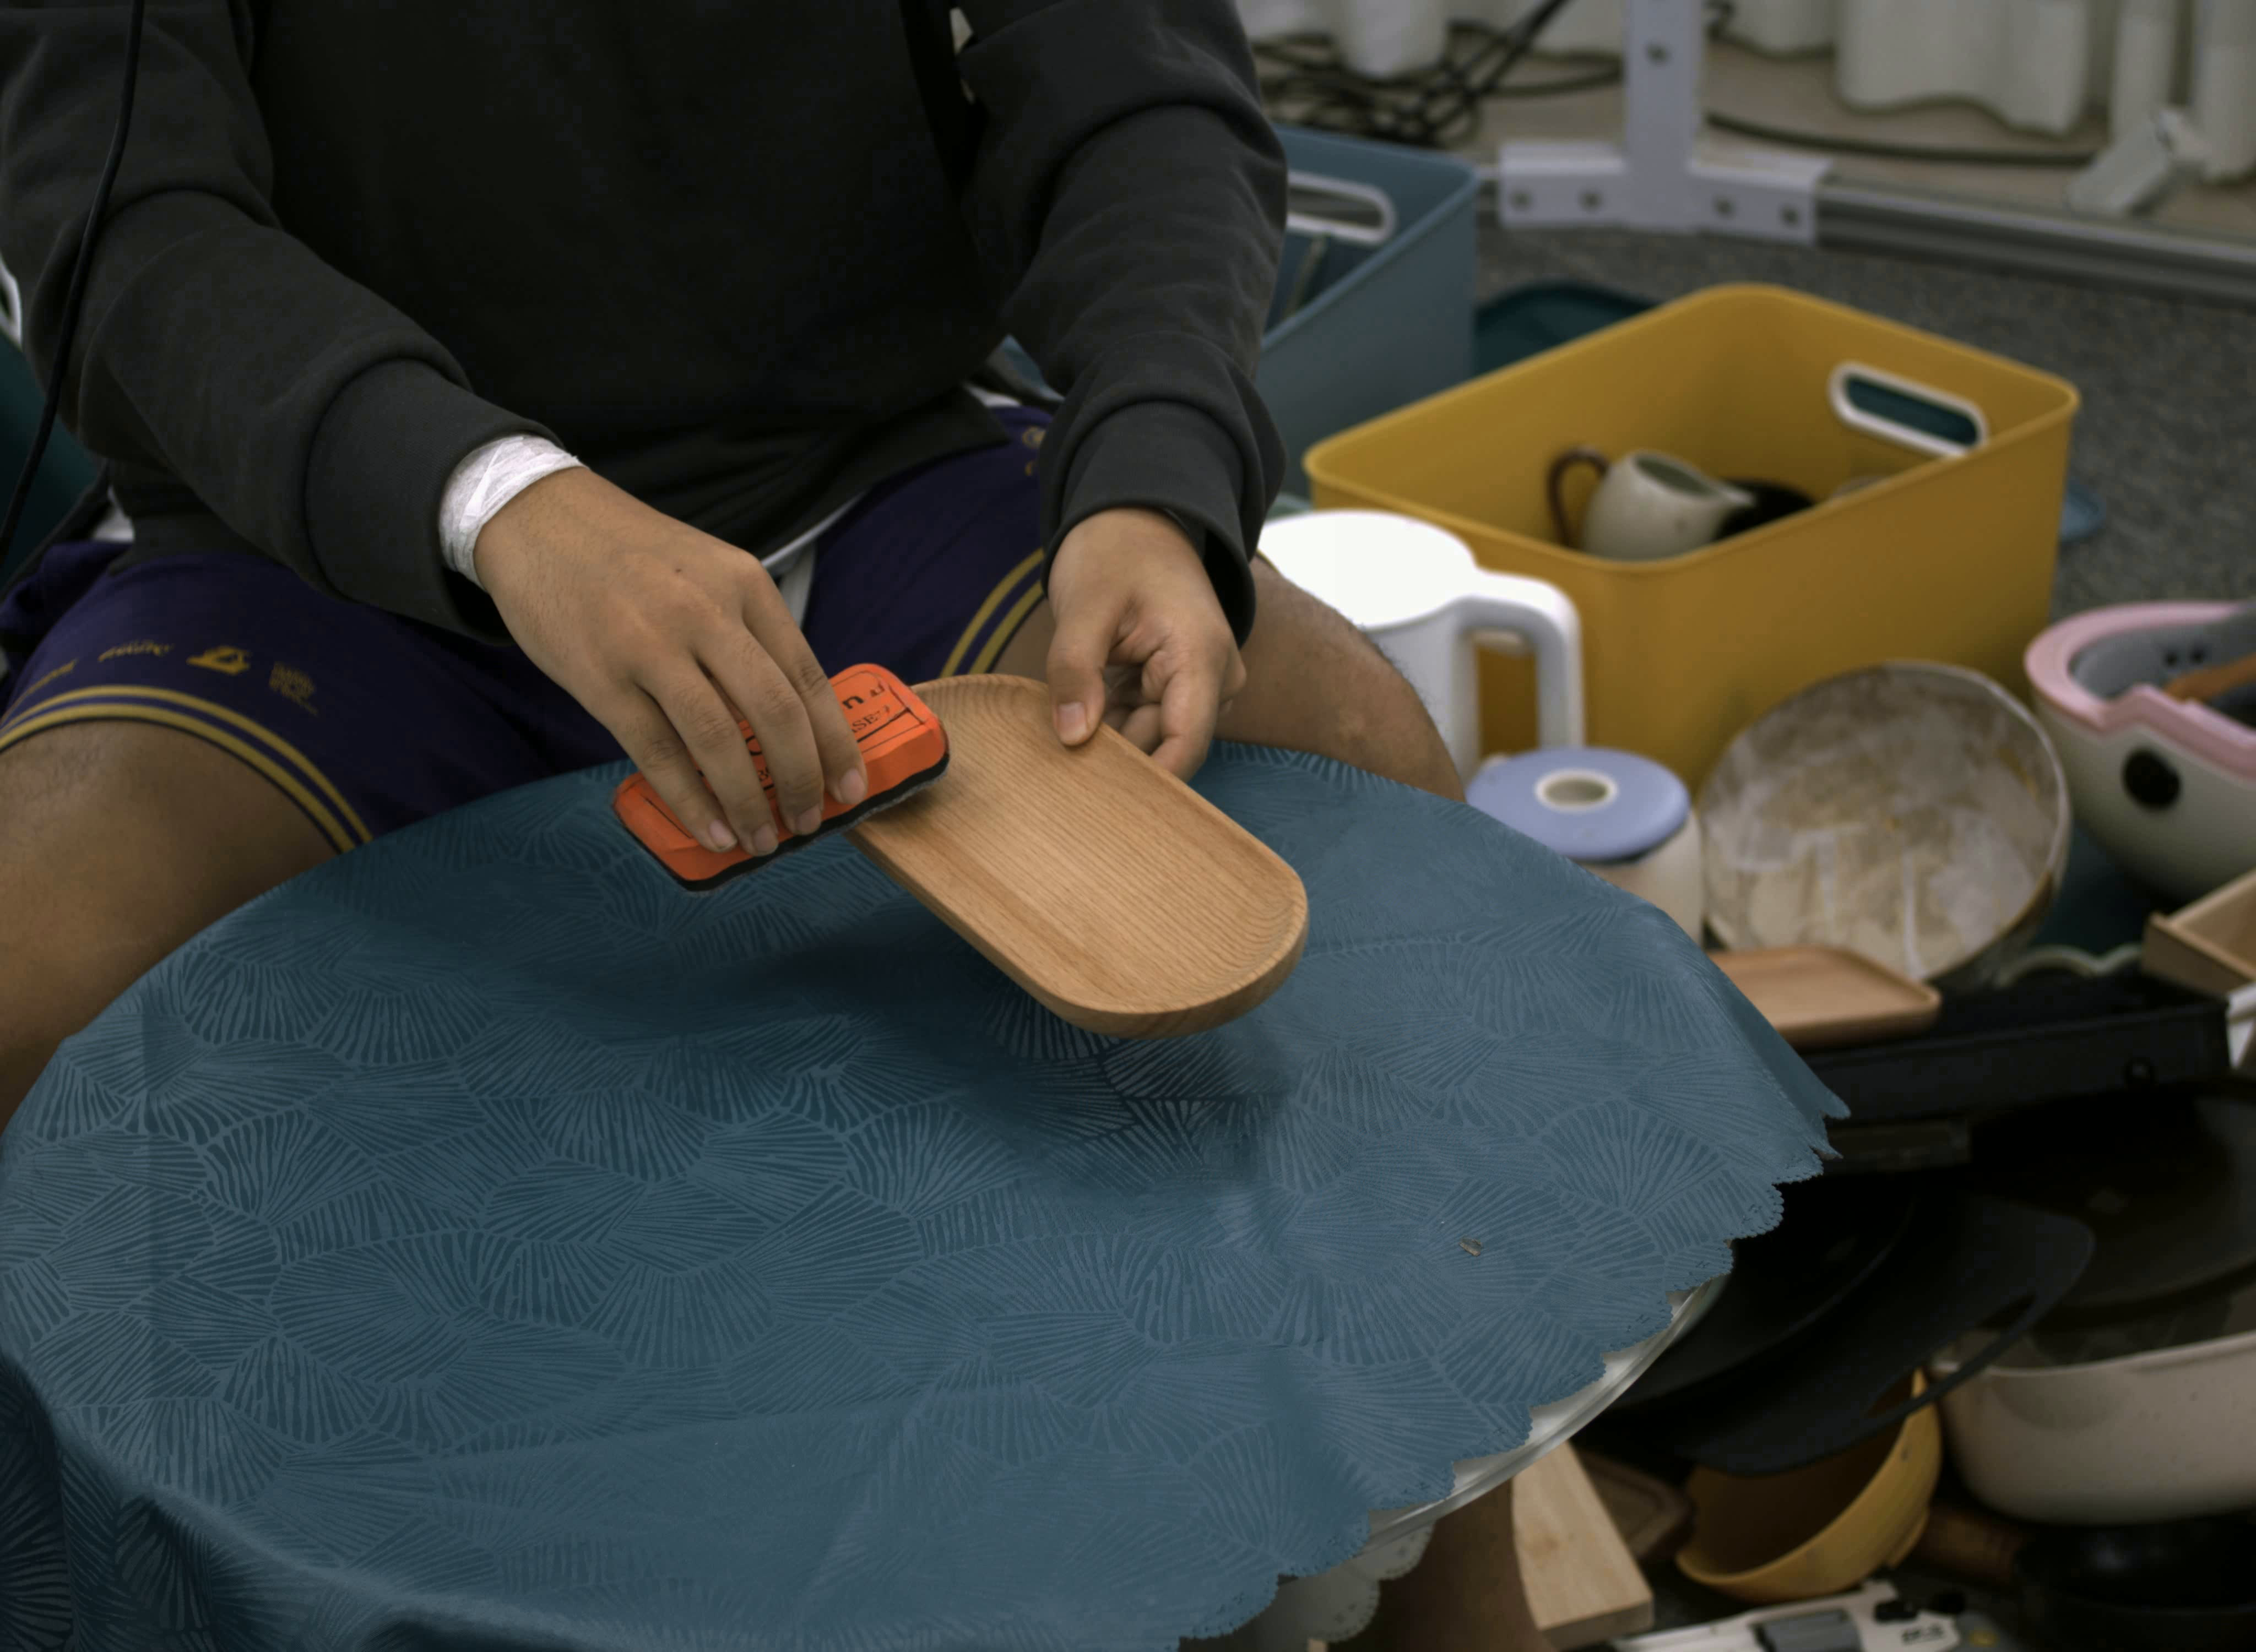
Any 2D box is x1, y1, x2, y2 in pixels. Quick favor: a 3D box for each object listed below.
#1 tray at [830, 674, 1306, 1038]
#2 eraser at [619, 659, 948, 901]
[{"bbox_3d":[-0.026,0.009,1.950,0.102,0.020,0.232,-27,38,-24],"label":"tray"},{"bbox_3d":[-0.121,-0.016,1.976,0.109,0.022,0.059,-27,48,-20],"label":"eraser"}]
